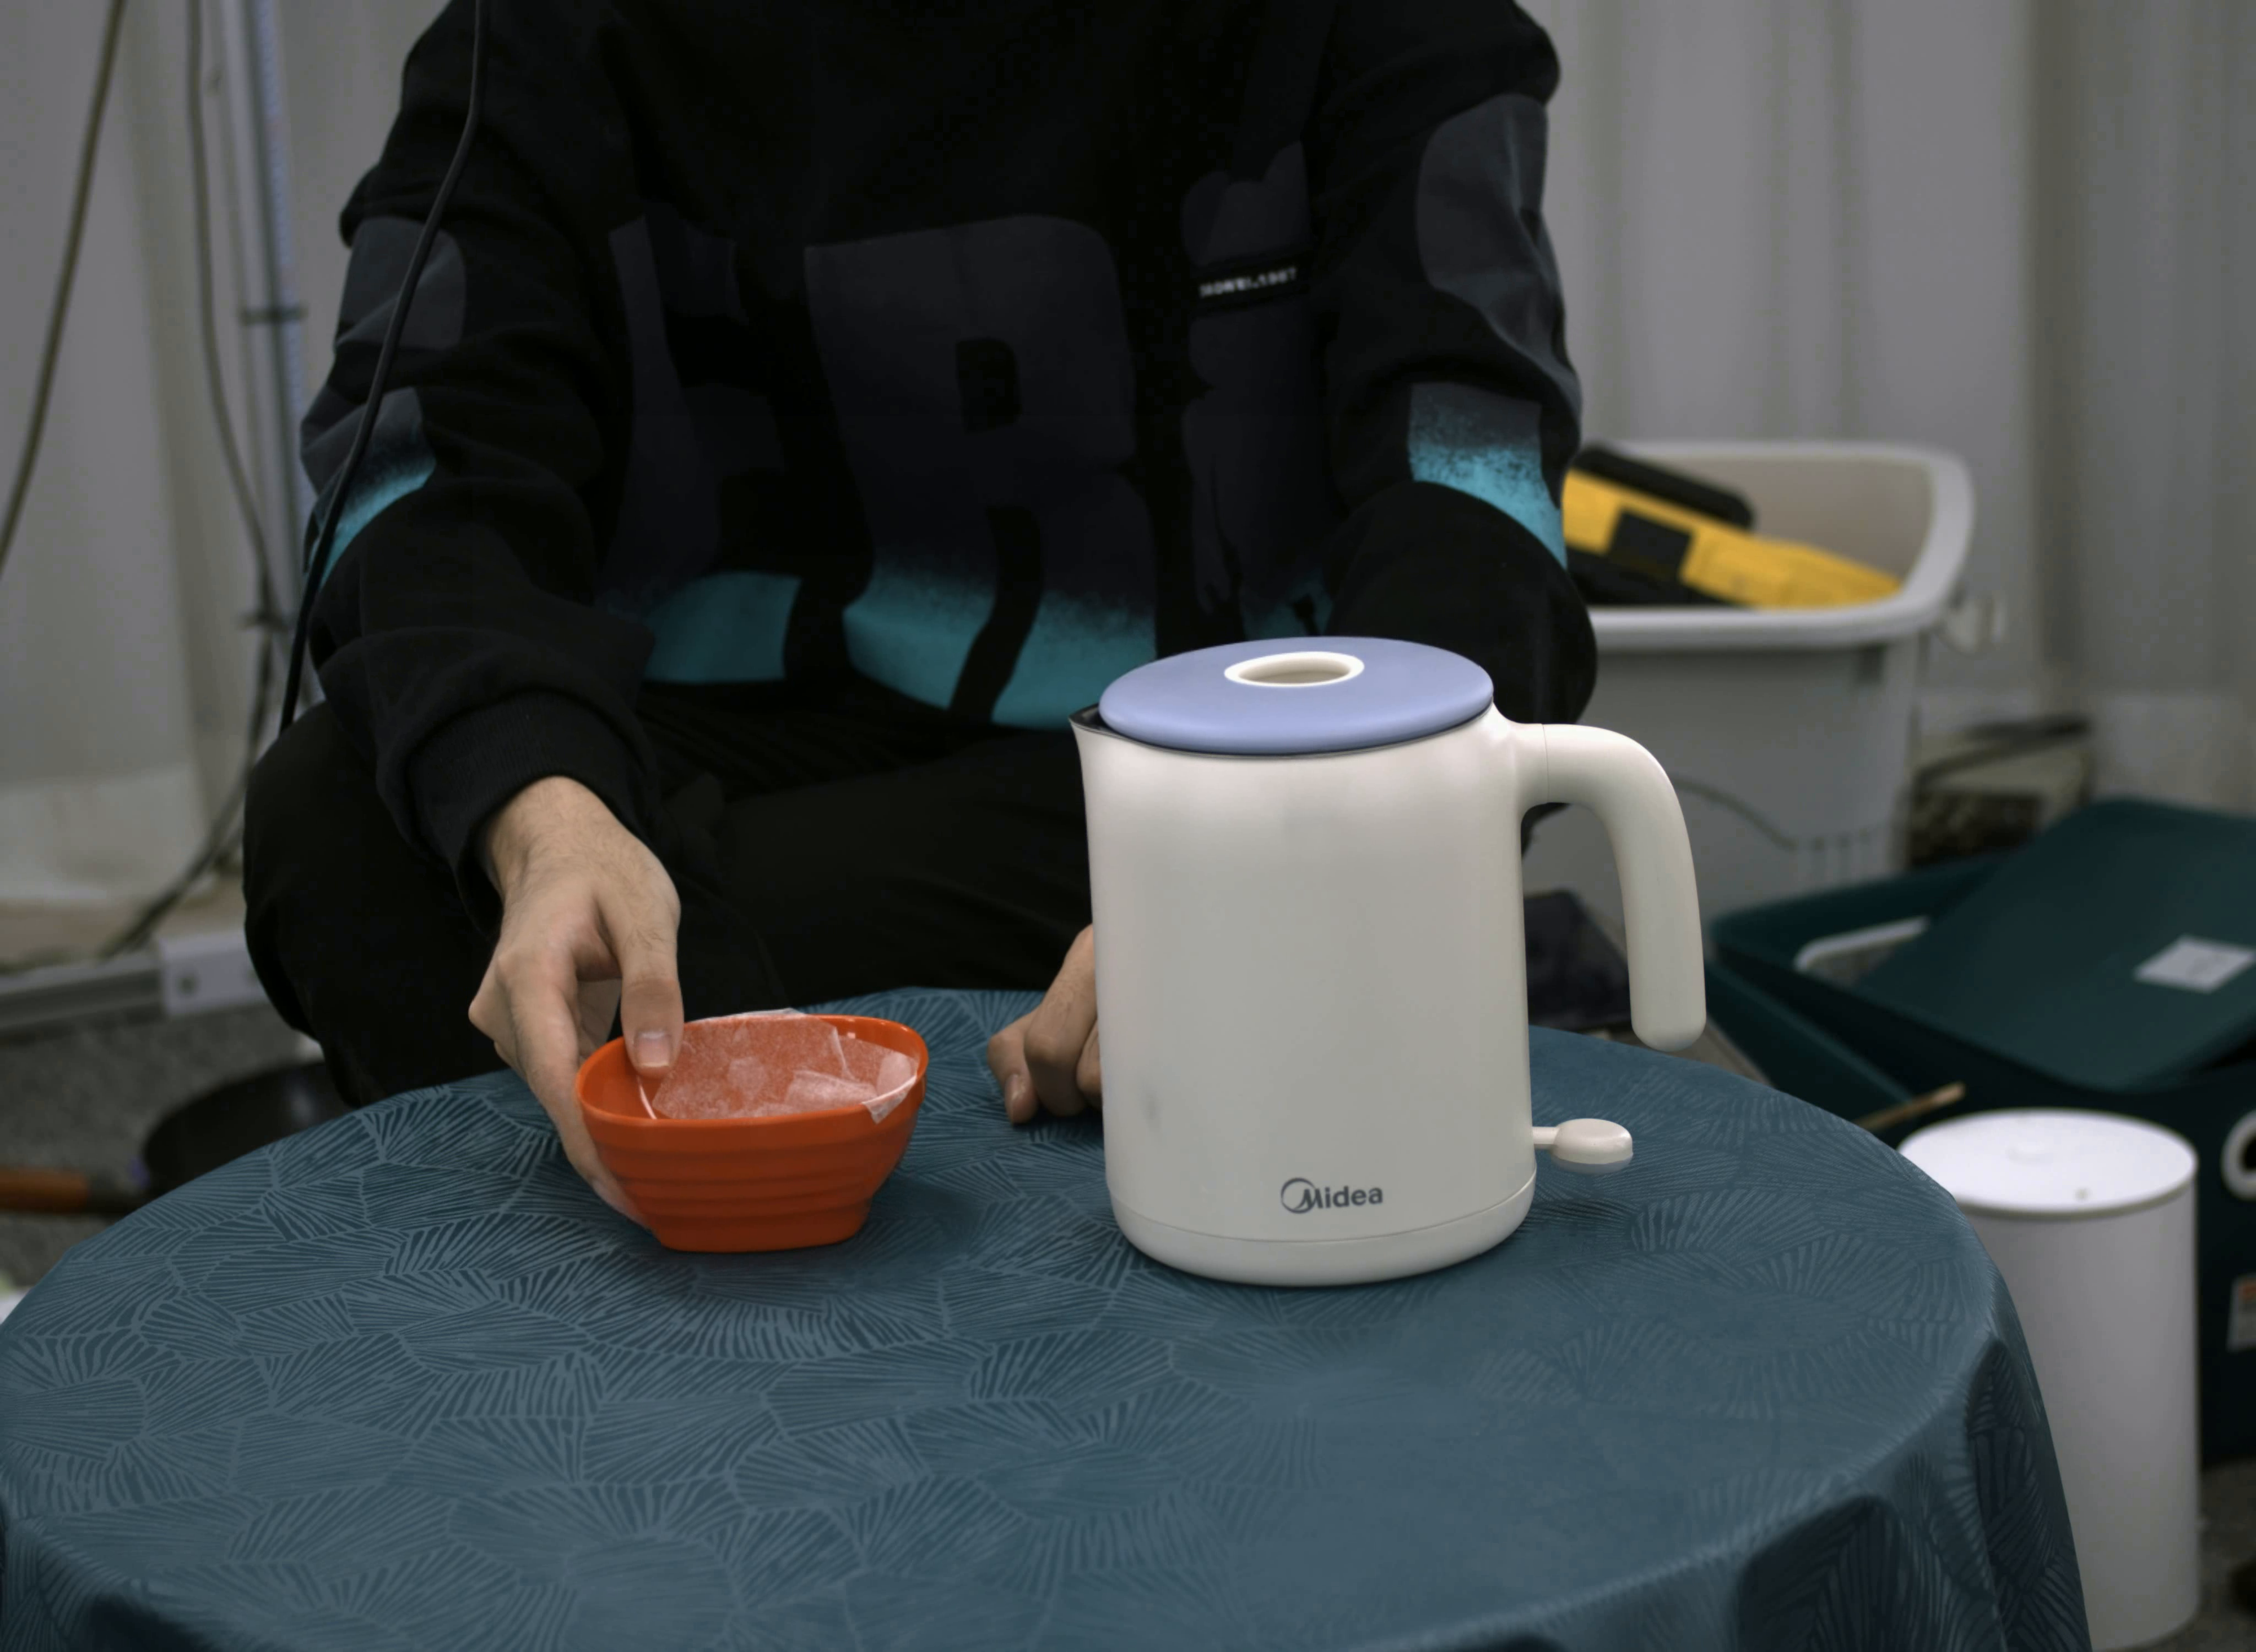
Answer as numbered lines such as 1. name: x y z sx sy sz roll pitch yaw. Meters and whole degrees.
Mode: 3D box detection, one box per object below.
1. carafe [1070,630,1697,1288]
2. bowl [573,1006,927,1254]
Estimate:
1. carafe: 0.078 0.038 1.657 0.190 0.182 0.133 -1 15 -3
2. bowl: -0.115 0.097 1.700 0.118 0.051 0.120 -5 16 1
